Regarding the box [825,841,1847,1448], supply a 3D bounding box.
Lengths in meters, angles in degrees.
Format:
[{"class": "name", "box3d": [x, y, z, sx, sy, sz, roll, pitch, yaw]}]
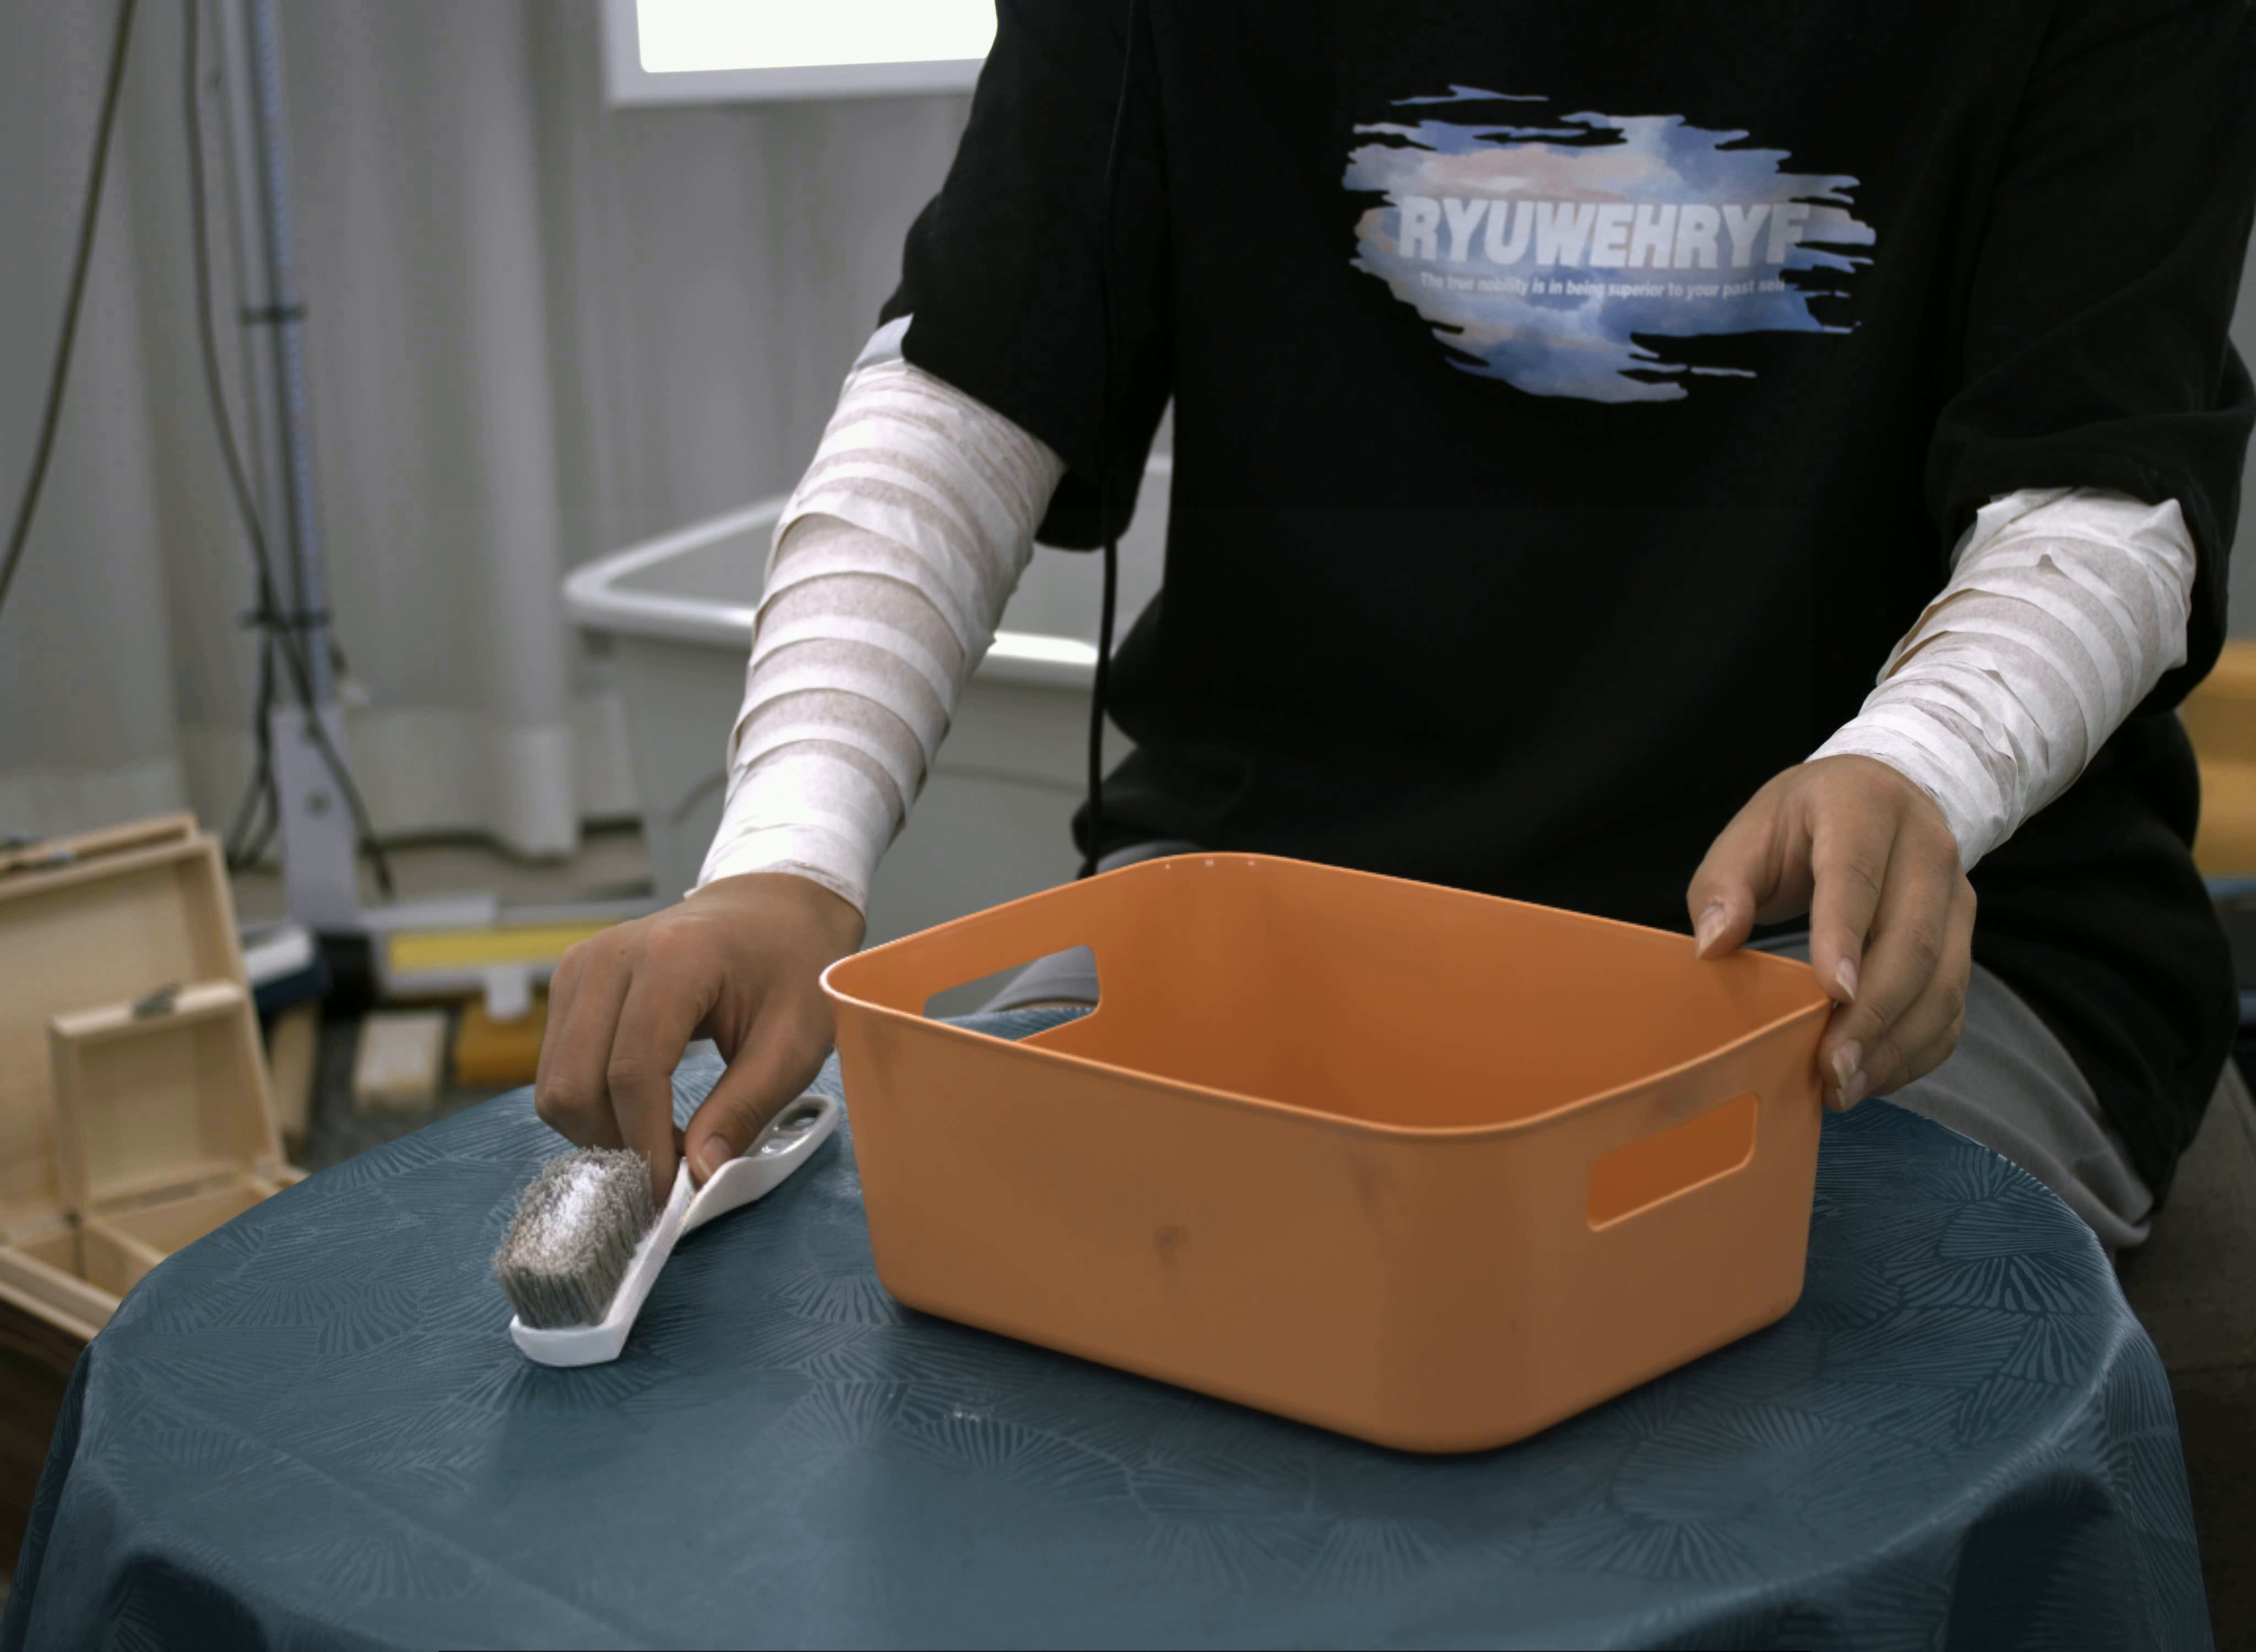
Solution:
[{"class": "box", "box3d": [0.060, 0.089, 1.590, 0.274, 0.102, 0.199, 11, 21, 42]}]

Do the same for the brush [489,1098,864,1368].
[{"class": "brush", "box3d": [-0.134, 0.105, 1.680, 0.034, 0.050, 0.244, -2, 14, 19]}]
